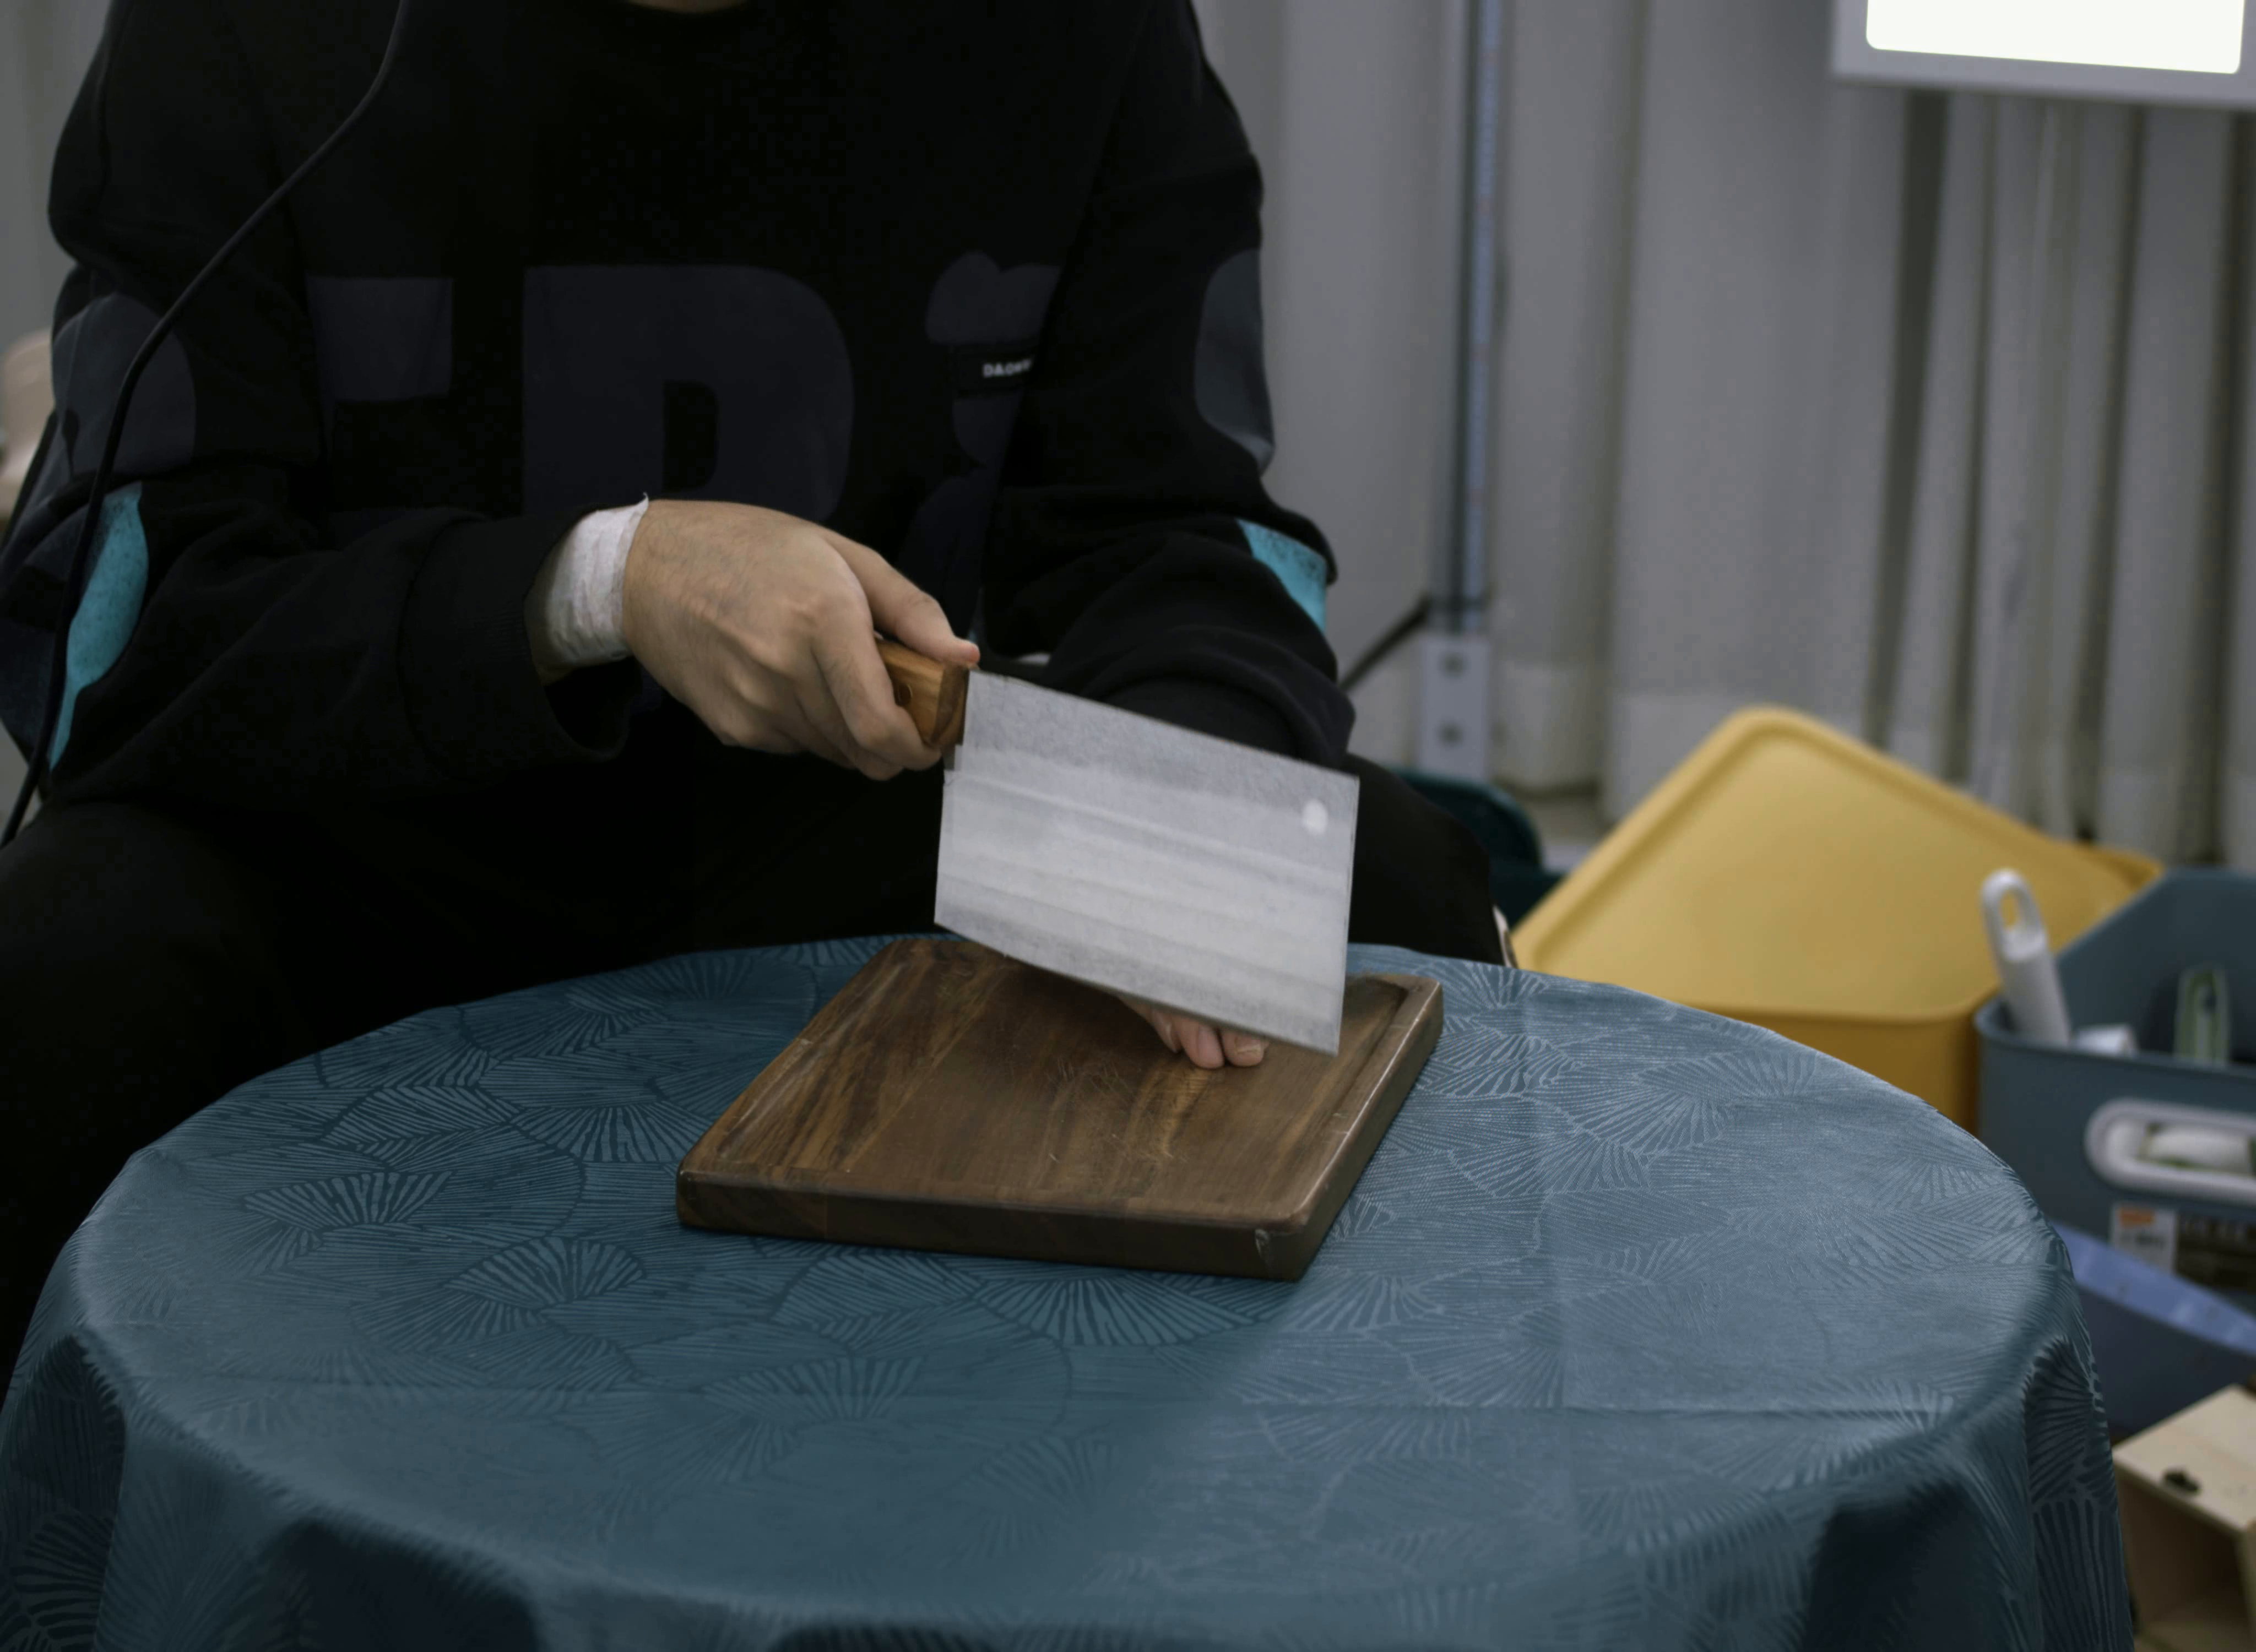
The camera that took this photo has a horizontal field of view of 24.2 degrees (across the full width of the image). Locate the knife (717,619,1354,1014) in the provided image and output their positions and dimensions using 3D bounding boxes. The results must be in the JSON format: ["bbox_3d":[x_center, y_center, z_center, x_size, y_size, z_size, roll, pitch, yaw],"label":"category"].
[{"bbox_3d":[-0.035,-0.003,1.714,0.021,0.093,0.301,-9,19,-43],"label":"knife"}]

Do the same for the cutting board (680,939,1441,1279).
[{"bbox_3d":[-0.004,0.073,1.723,0.199,0.023,0.351,4,16,12],"label":"cutting board"}]
